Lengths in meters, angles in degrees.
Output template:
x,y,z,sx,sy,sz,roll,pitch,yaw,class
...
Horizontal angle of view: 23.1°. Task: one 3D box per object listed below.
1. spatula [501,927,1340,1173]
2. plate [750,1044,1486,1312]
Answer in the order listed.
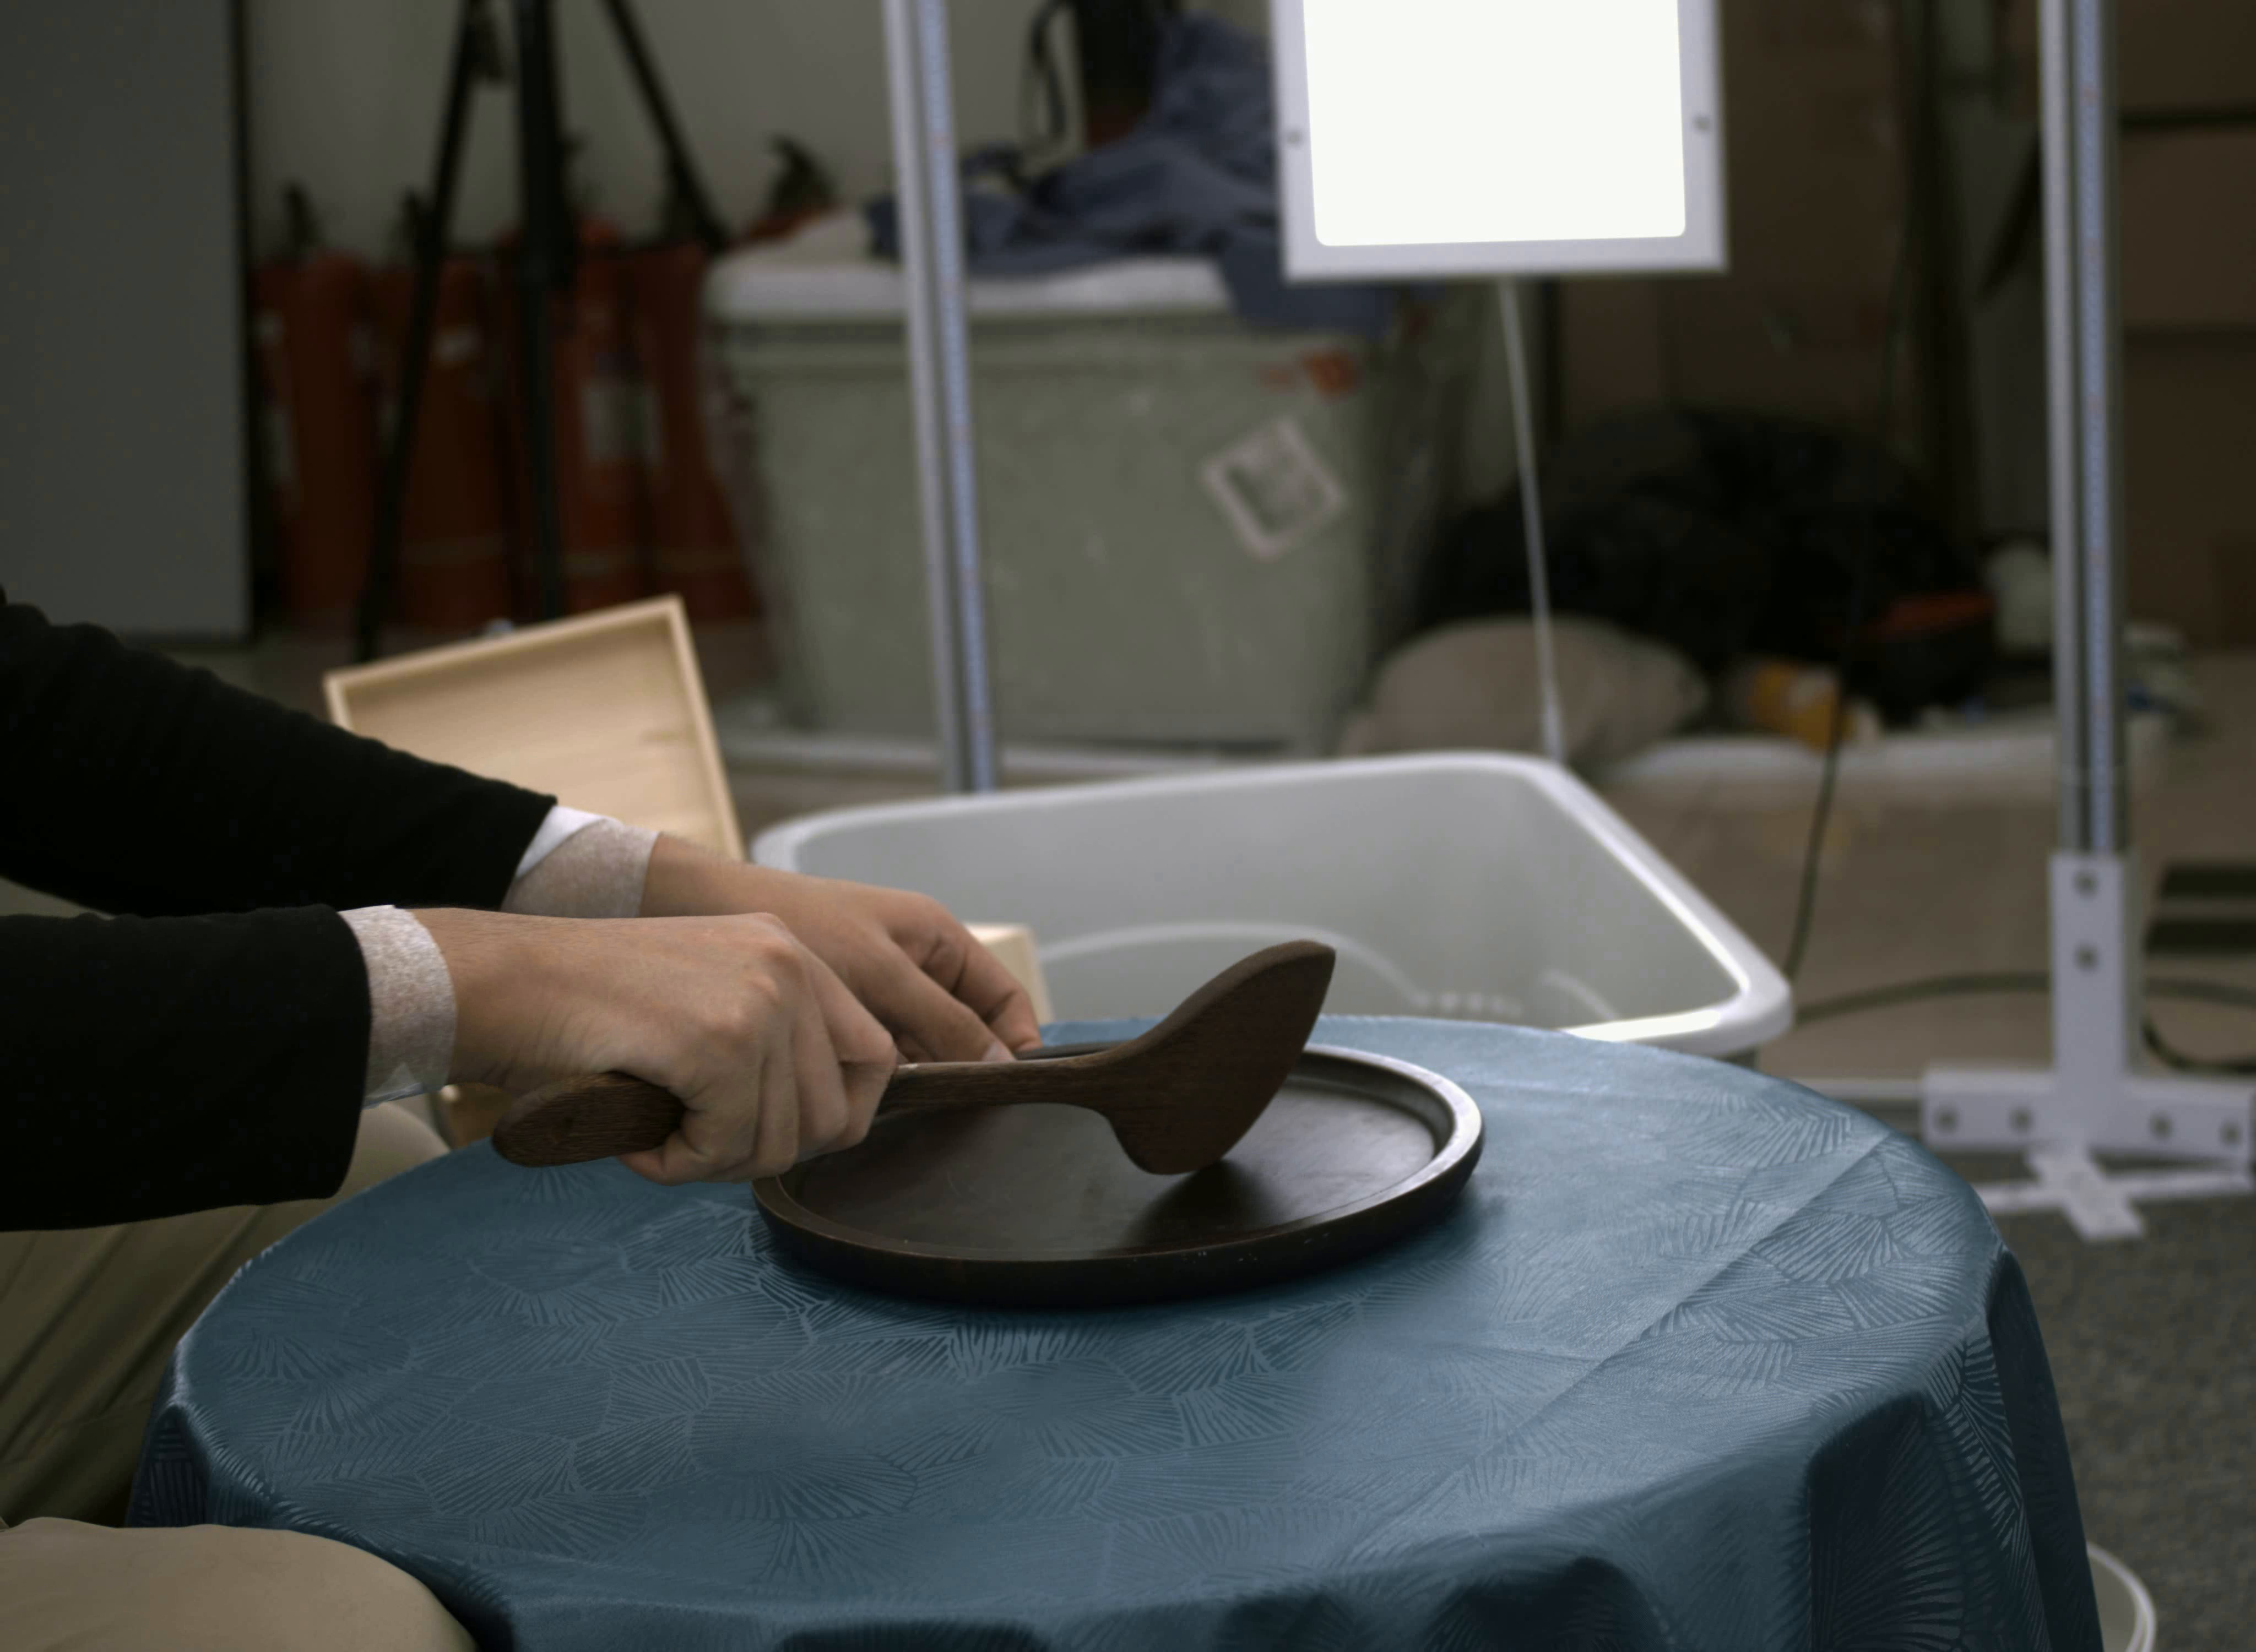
x,y,z,sx,sy,sz,roll,pitch,yaw,class
-0.059,0.080,1.737,0.376,0.097,0.016,-2,35,-49,spatula
-0.003,0.117,1.886,0.254,0.029,0.254,-5,15,0,plate
